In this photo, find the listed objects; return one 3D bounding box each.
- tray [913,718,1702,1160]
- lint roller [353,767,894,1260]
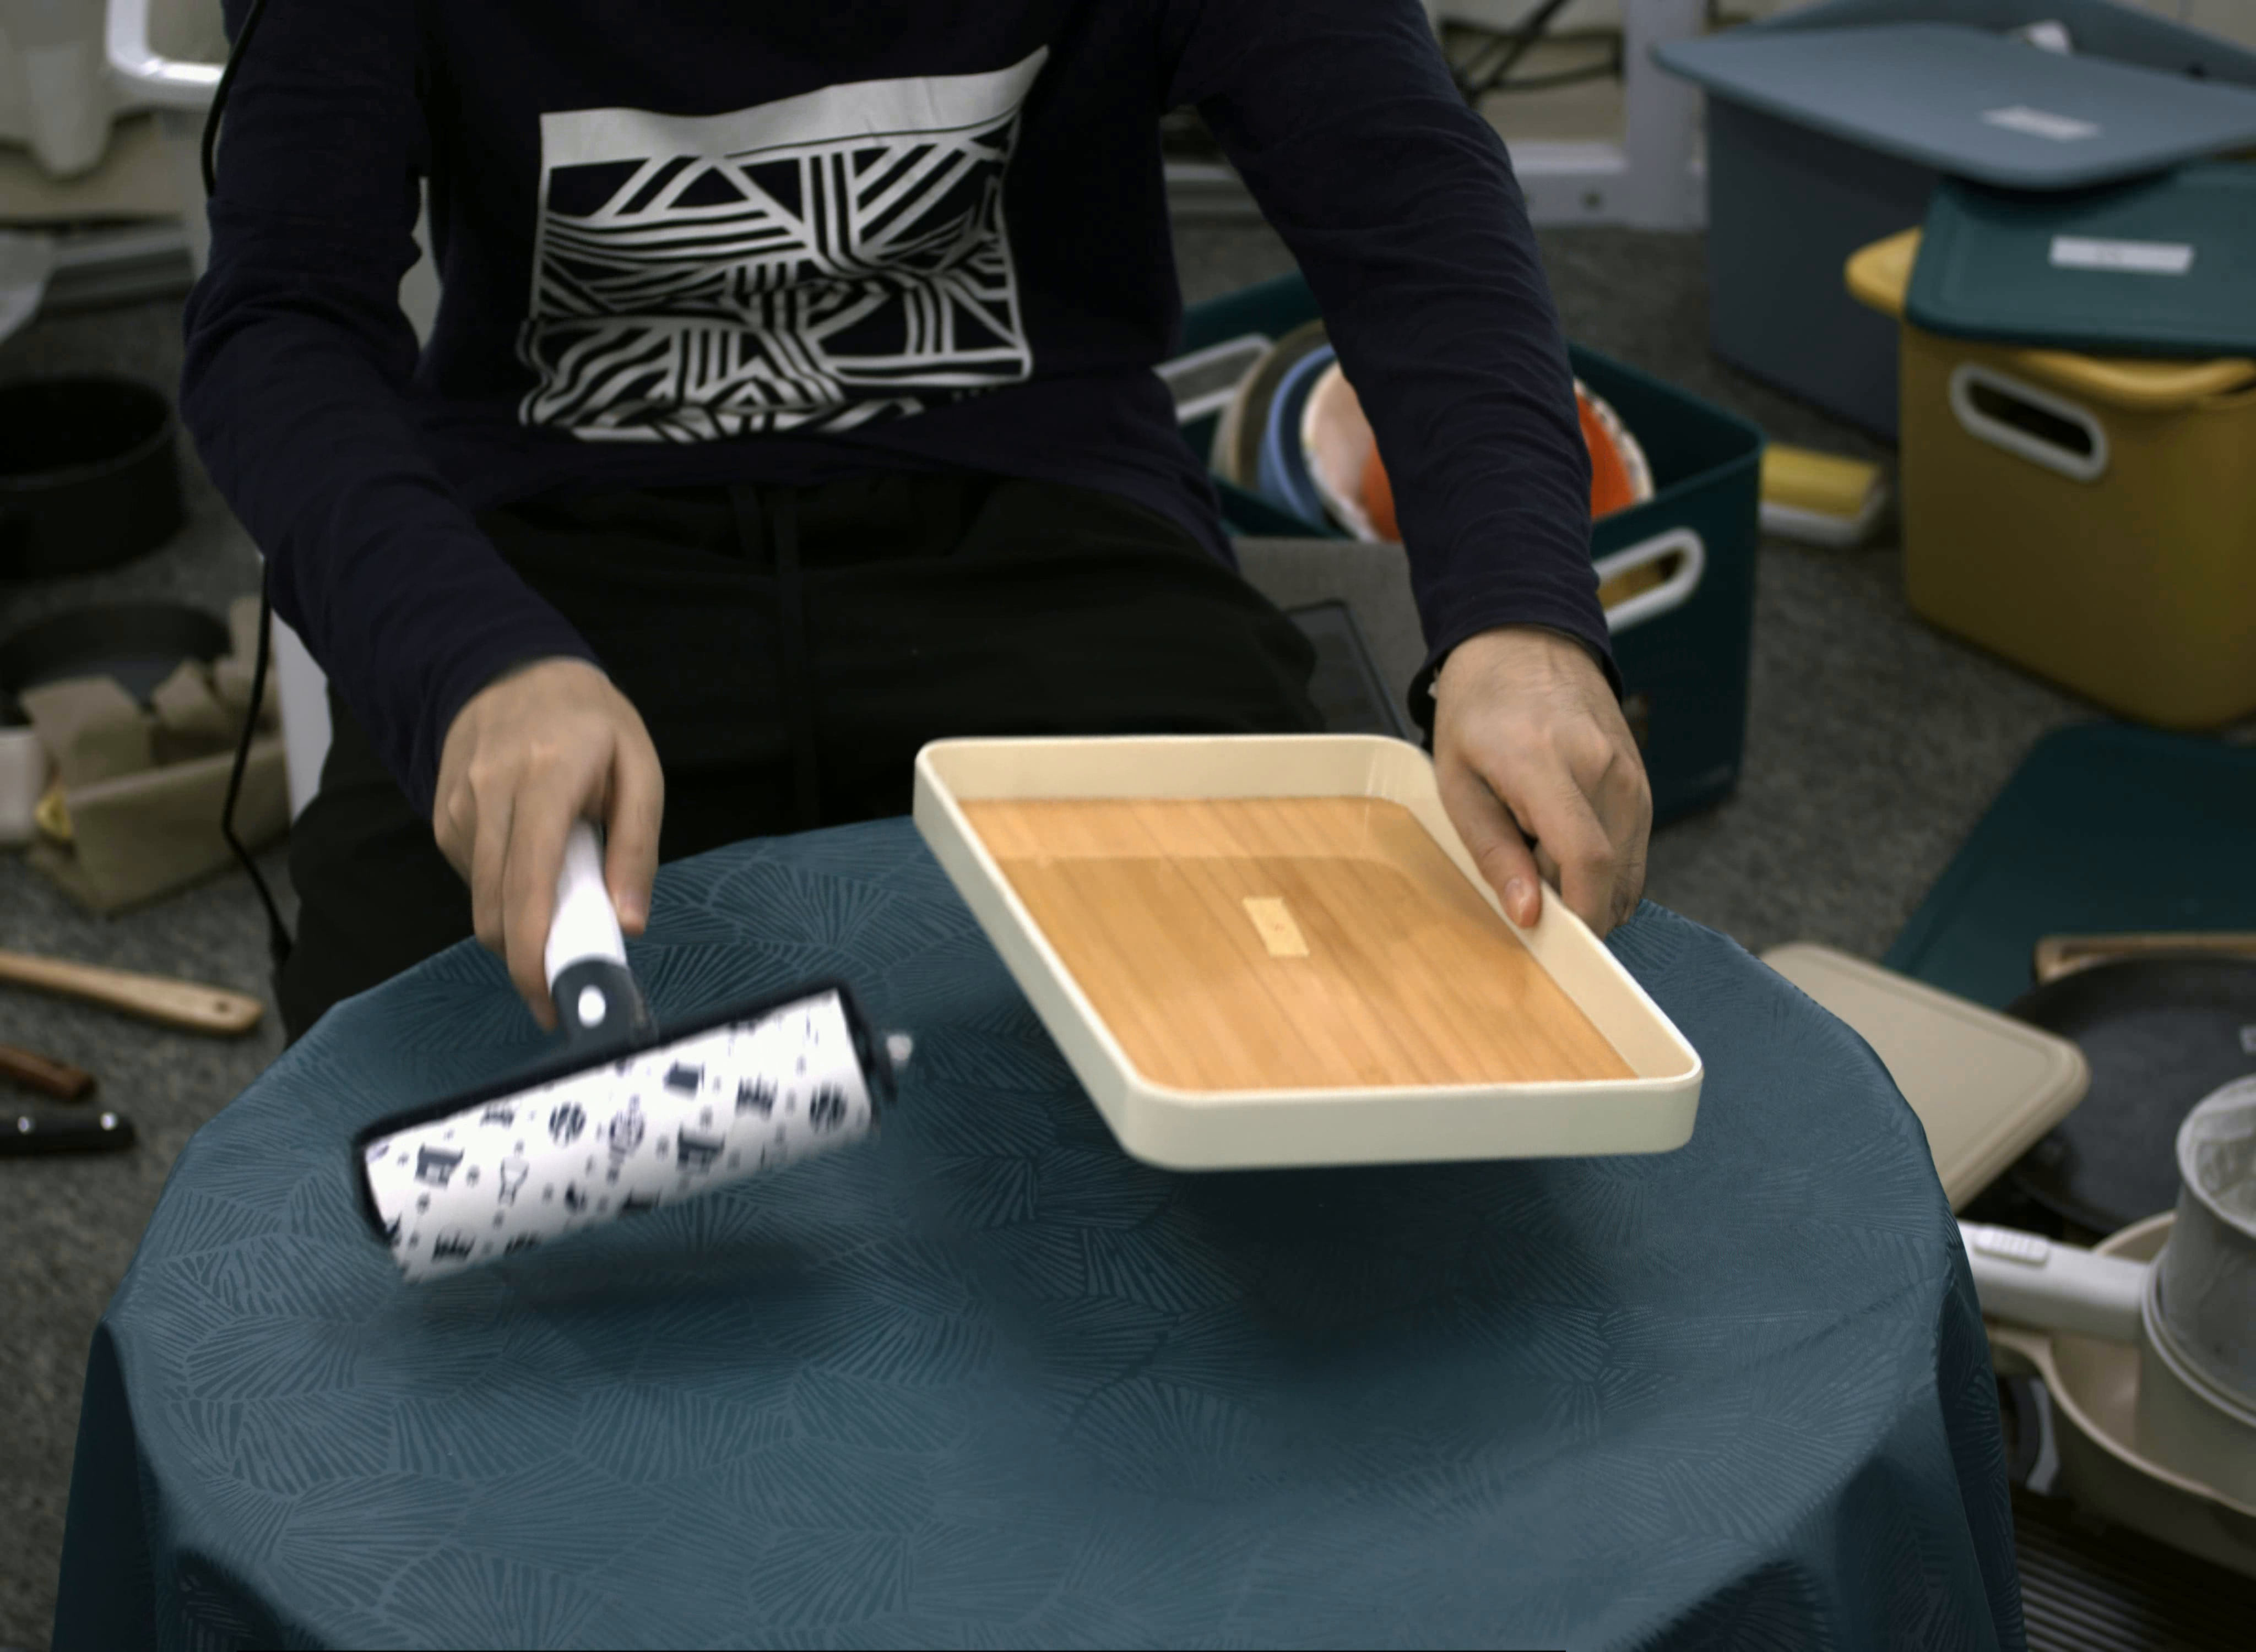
[{"bbox_3d":[0.052,0.032,1.858,0.191,0.027,0.303,-2,22,-16],"label":"tray"},{"bbox_3d":[-0.184,0.042,1.886,0.176,0.050,0.250,-20,33,-3],"label":"lint roller"}]
